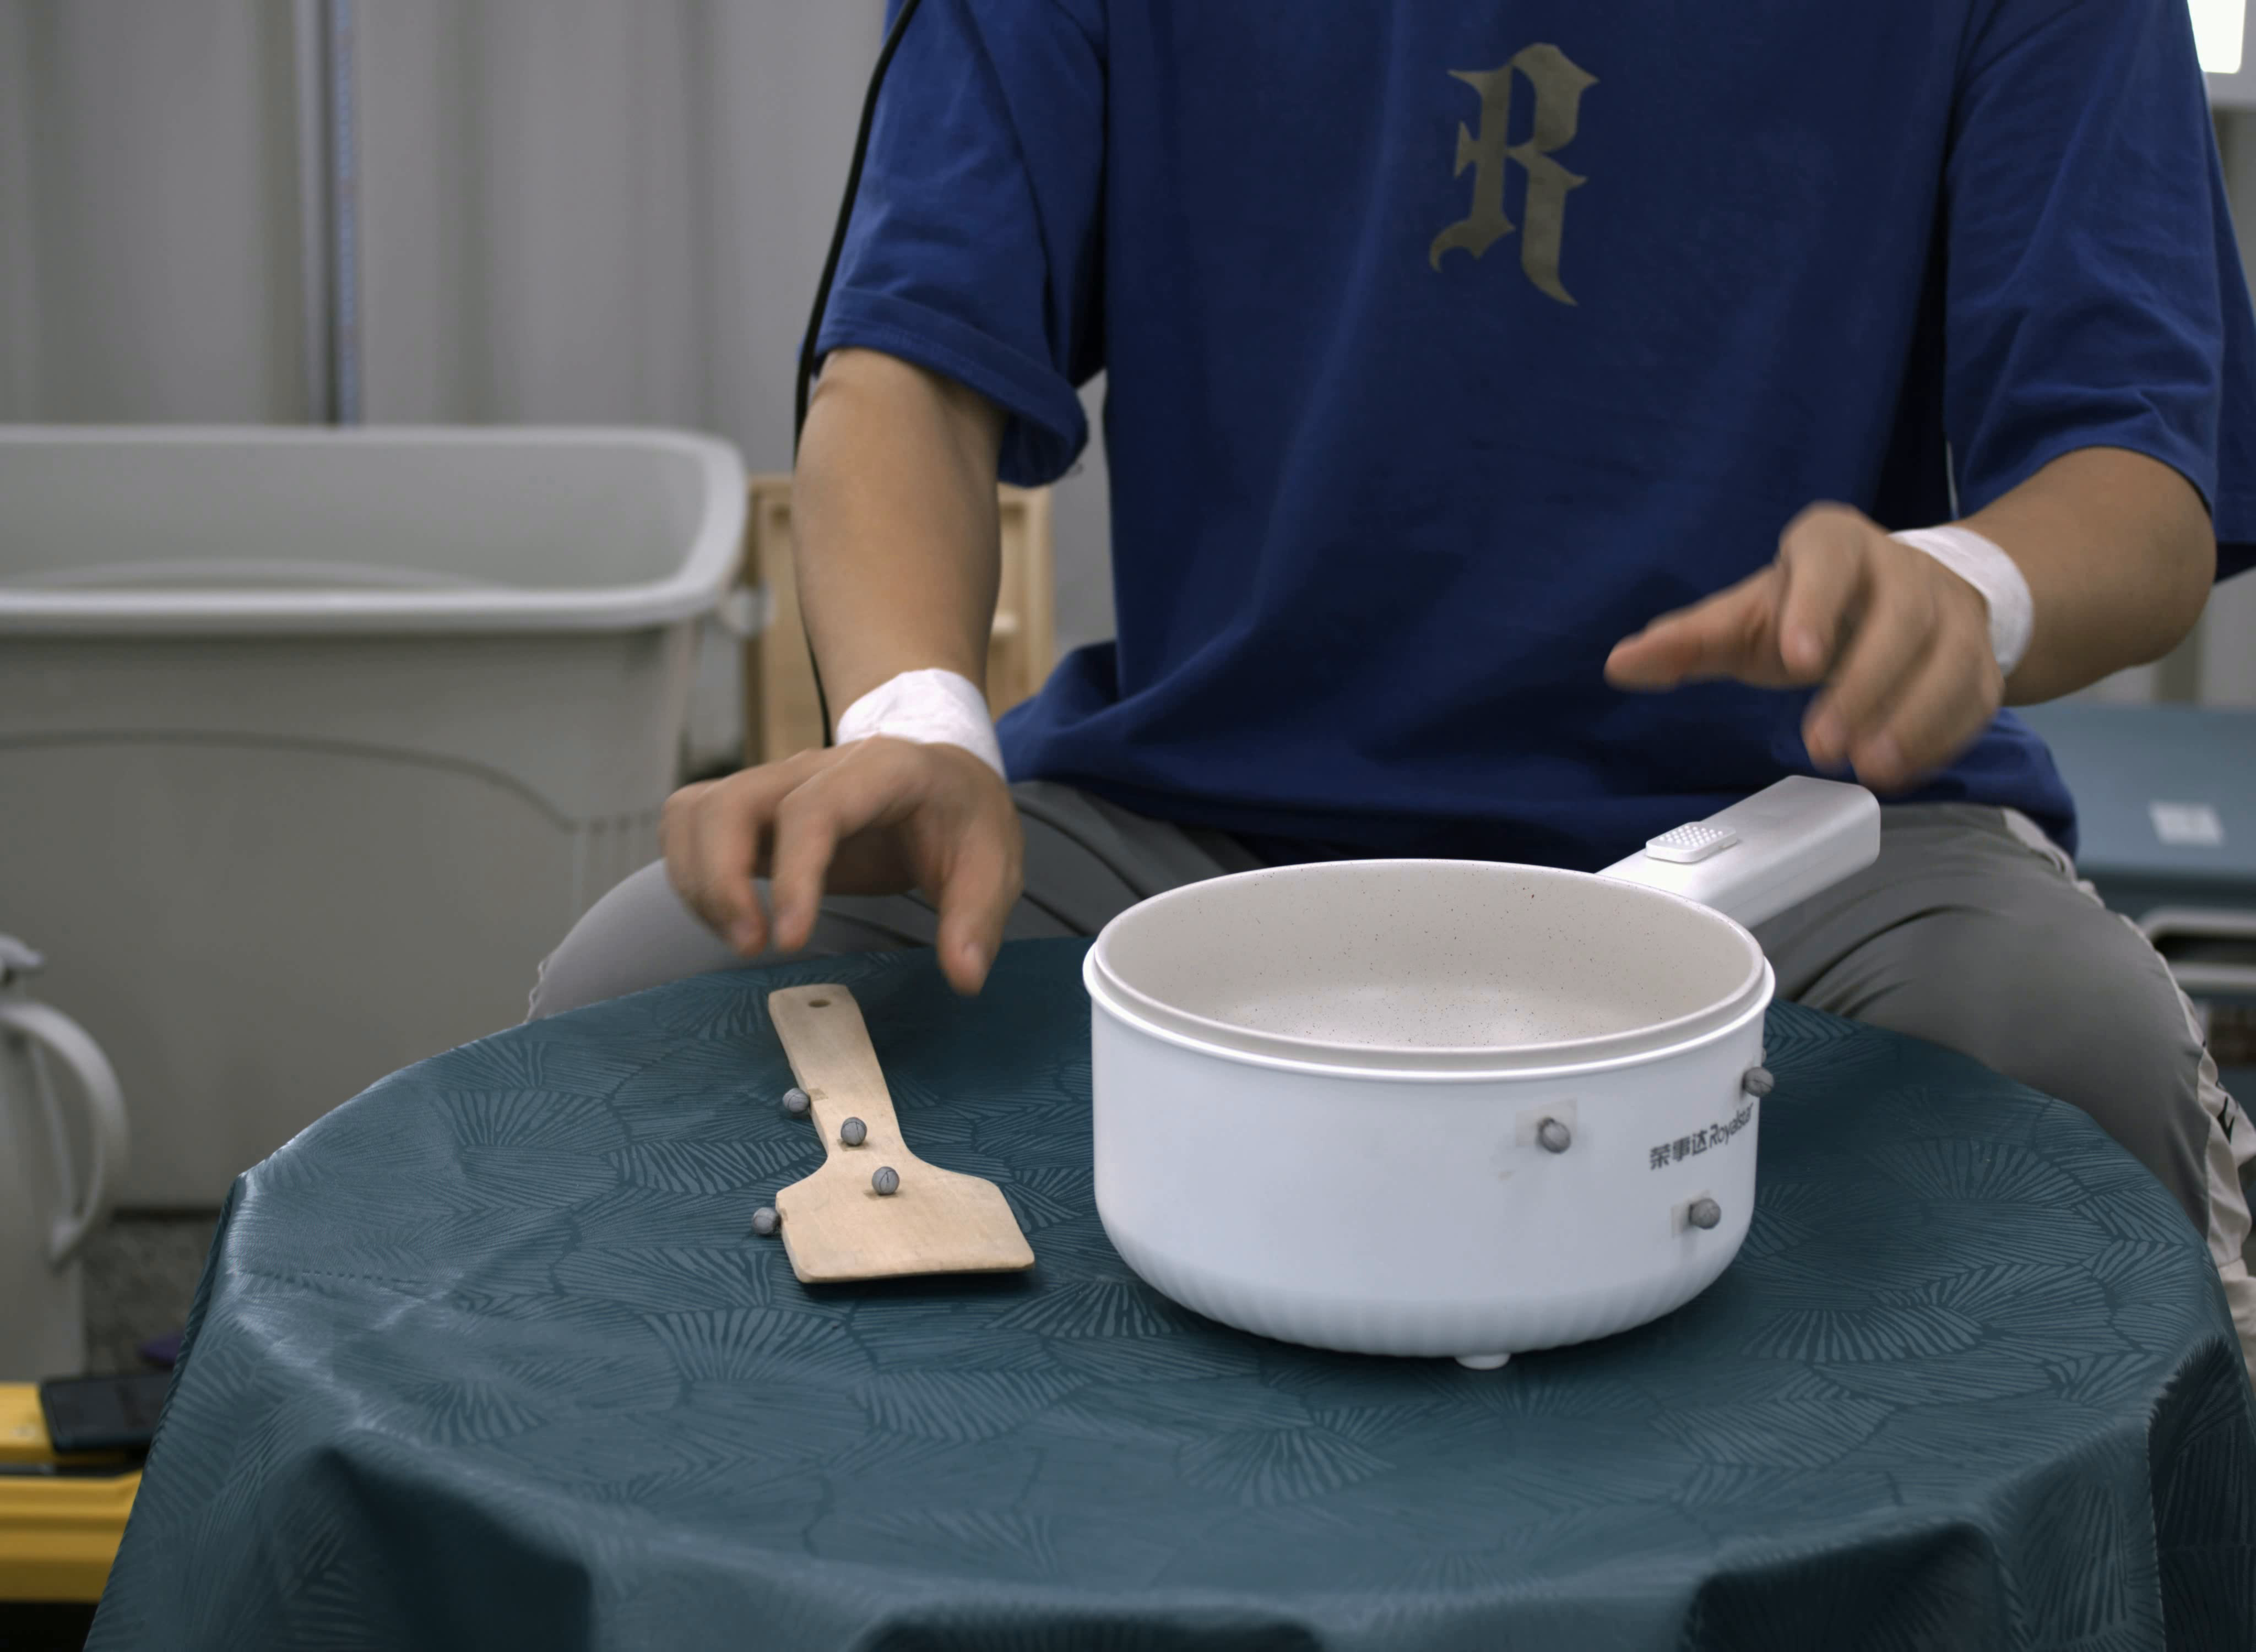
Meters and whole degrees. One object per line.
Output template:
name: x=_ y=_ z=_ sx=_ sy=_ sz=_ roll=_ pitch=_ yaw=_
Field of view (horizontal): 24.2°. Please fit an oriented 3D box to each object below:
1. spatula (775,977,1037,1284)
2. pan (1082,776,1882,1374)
spatula: x=-0.085 y=0.094 z=1.668 sx=0.072 sy=0.011 sz=0.290 roll=-3 pitch=16 yaw=-9
pan: x=0.131 y=0.069 z=1.602 sx=0.199 sy=0.103 sz=0.356 roll=8 pitch=17 yaw=33
